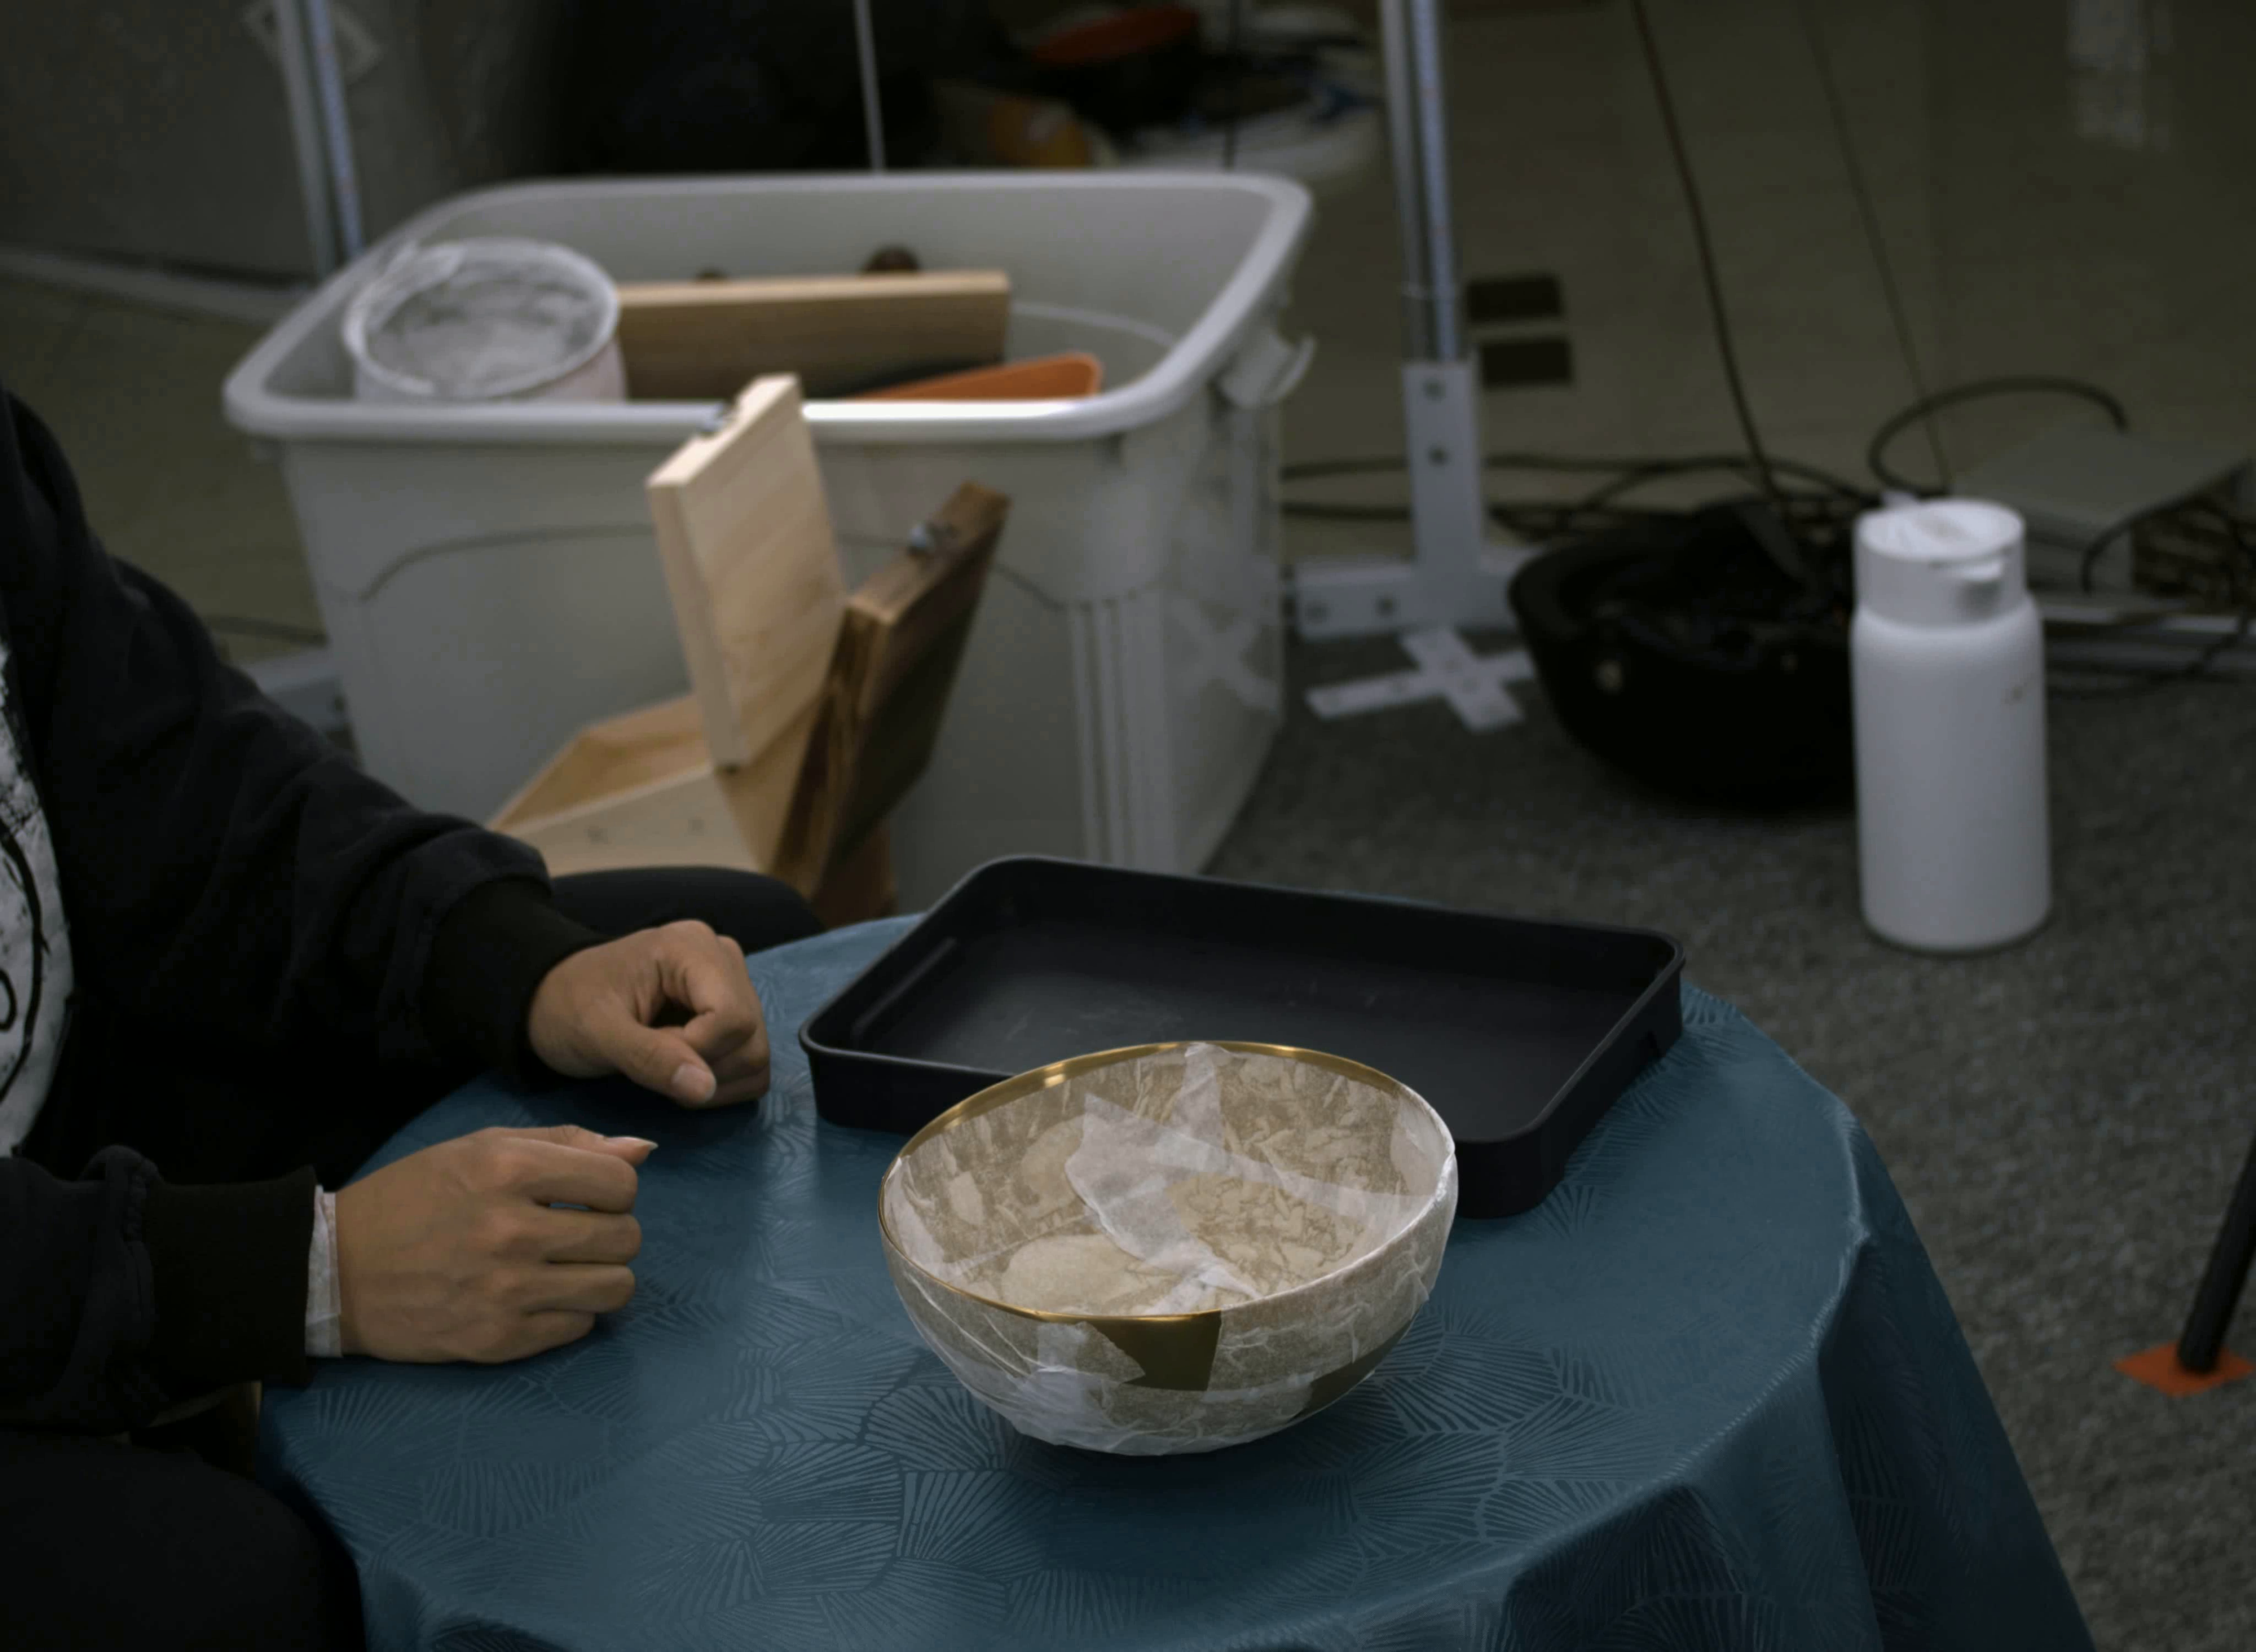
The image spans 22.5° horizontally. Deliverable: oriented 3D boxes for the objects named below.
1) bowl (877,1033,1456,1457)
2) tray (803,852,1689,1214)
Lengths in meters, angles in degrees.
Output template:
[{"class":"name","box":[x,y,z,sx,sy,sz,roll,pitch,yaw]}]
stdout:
[{"class":"bowl","box":[0.014,0.159,1.995,0.214,0.096,0.211,-5,26,3]},{"class":"tray","box":[0.047,0.078,2.225,0.317,0.037,0.182,6,29,28]}]
